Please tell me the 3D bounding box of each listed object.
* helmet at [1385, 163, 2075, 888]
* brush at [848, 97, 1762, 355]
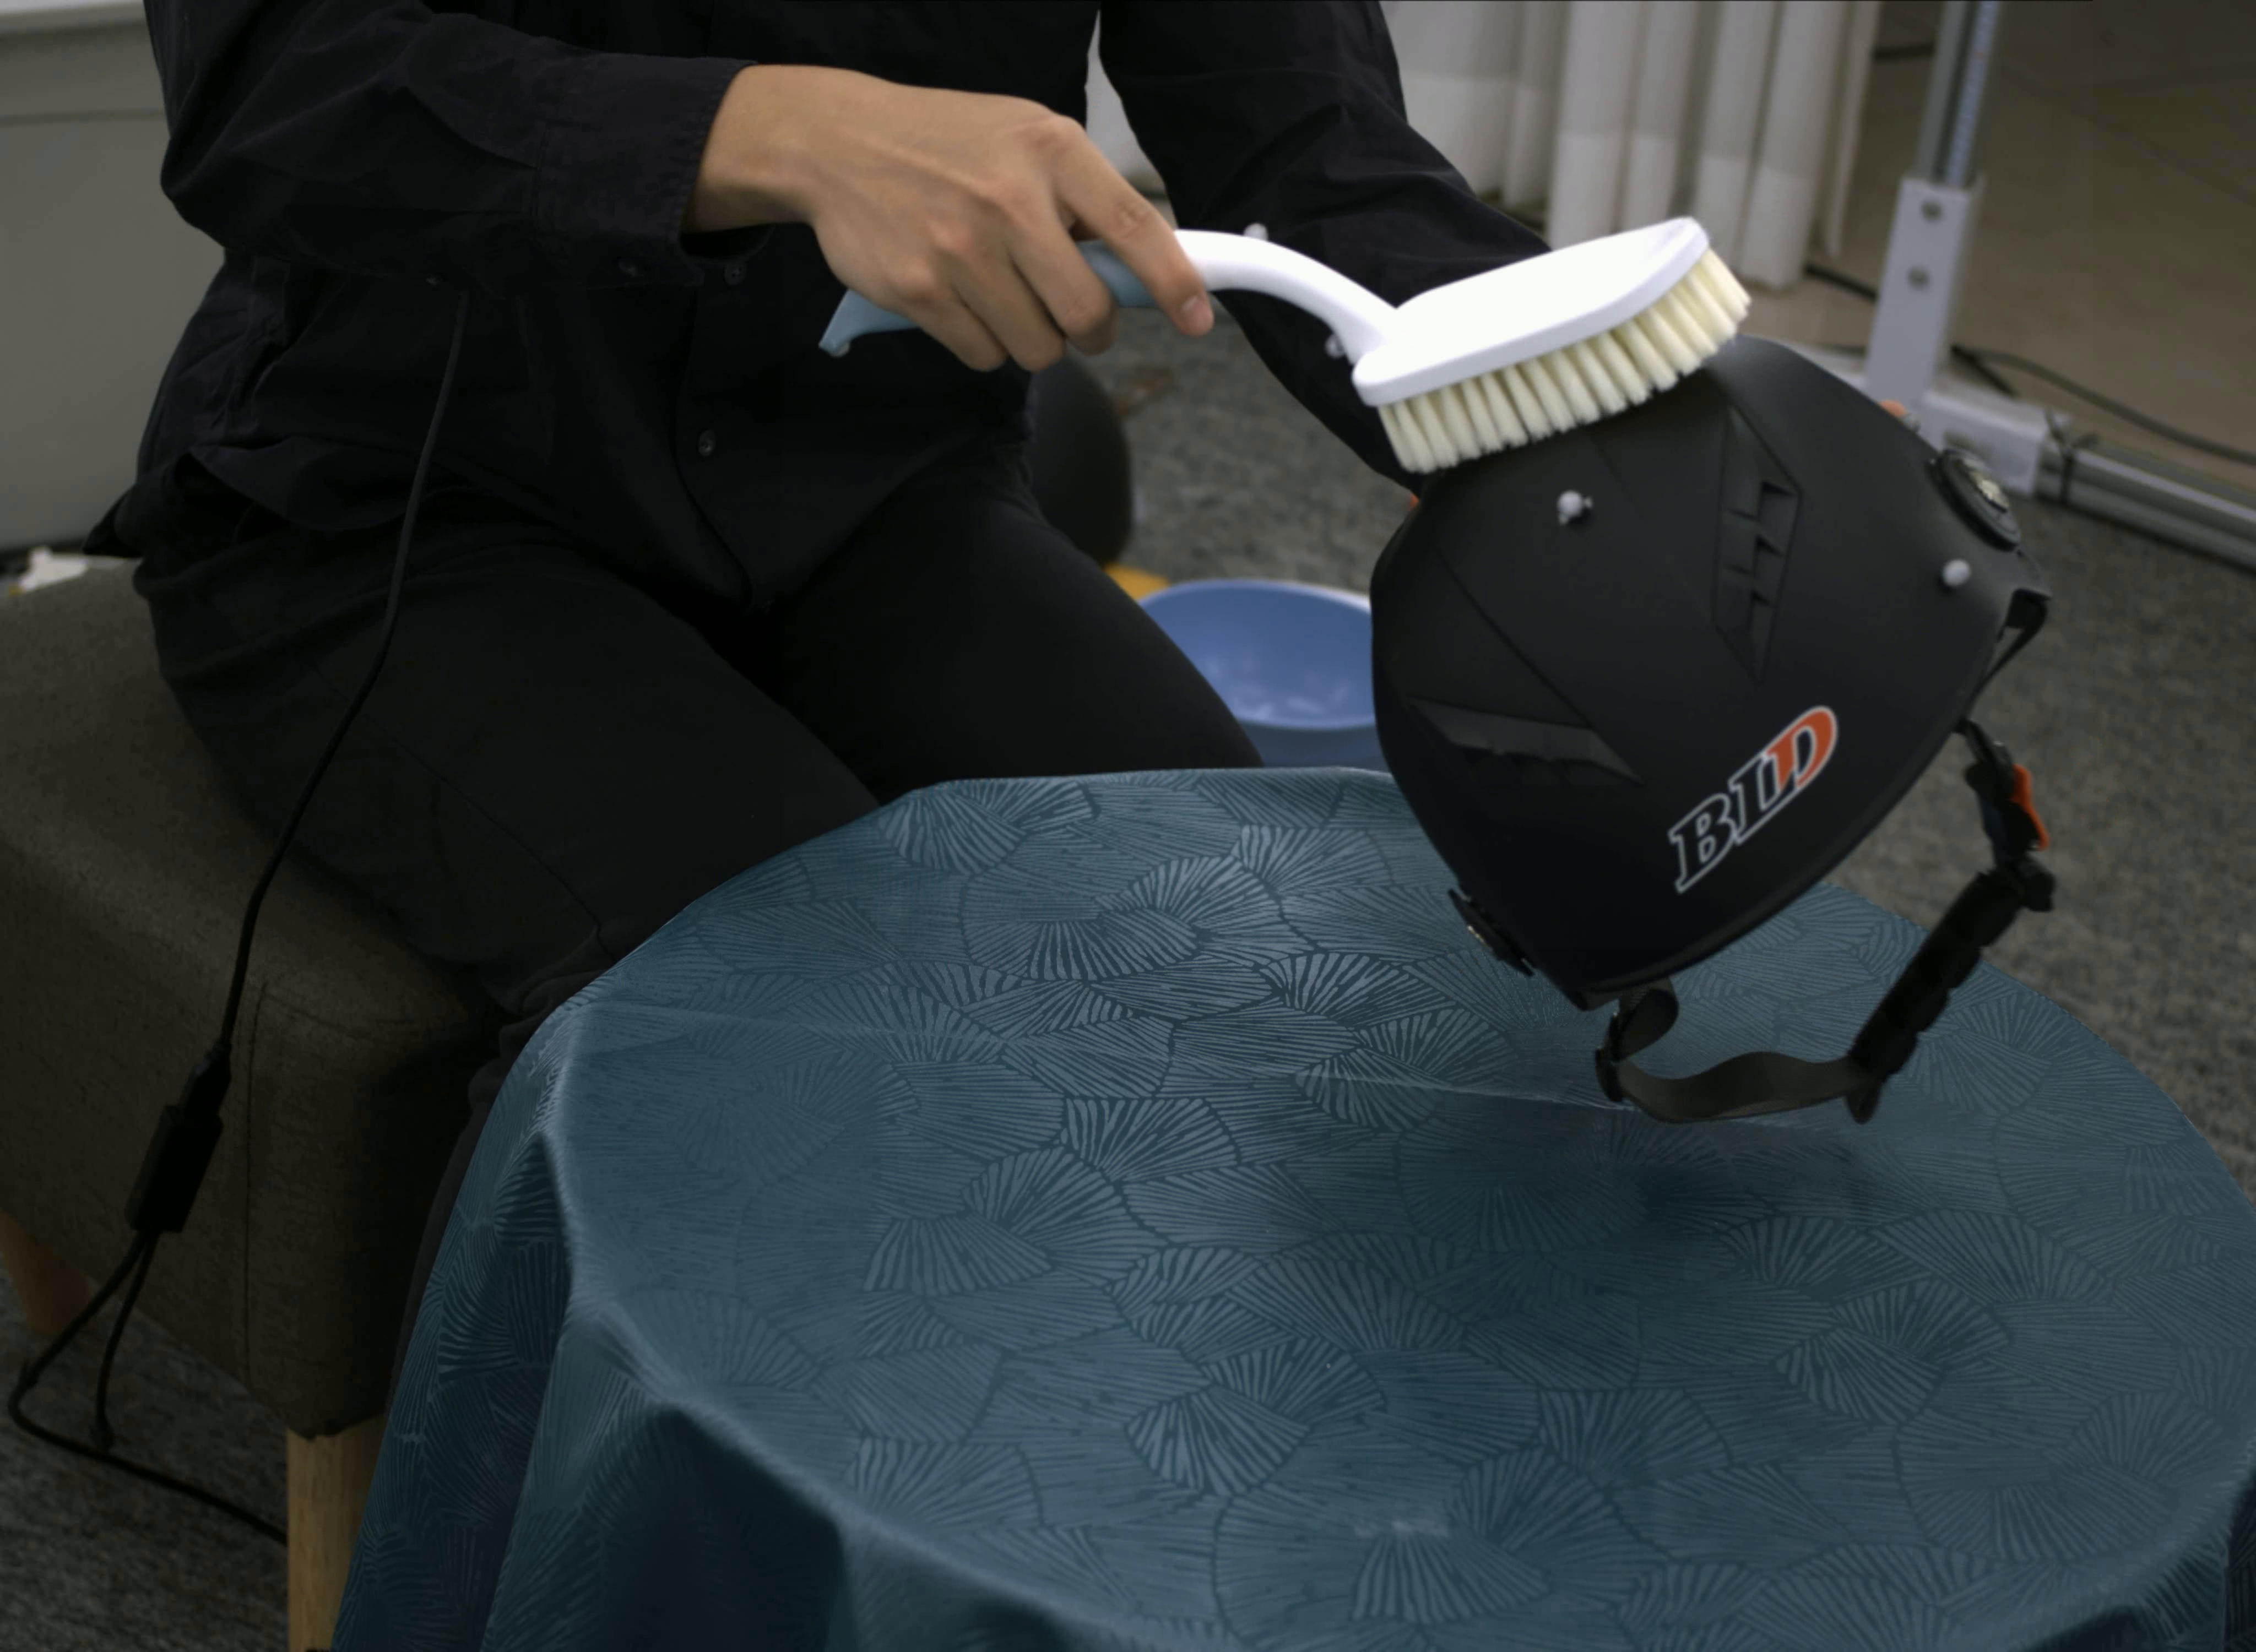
[{"bbox_3d":[0.186,-0.113,1.802,0.171,0.246,0.278,43,13,-16],"label":"helmet"},{"bbox_3d":[0.059,-0.195,1.814,0.326,0.085,0.082,-3,-7,24],"label":"brush"}]
